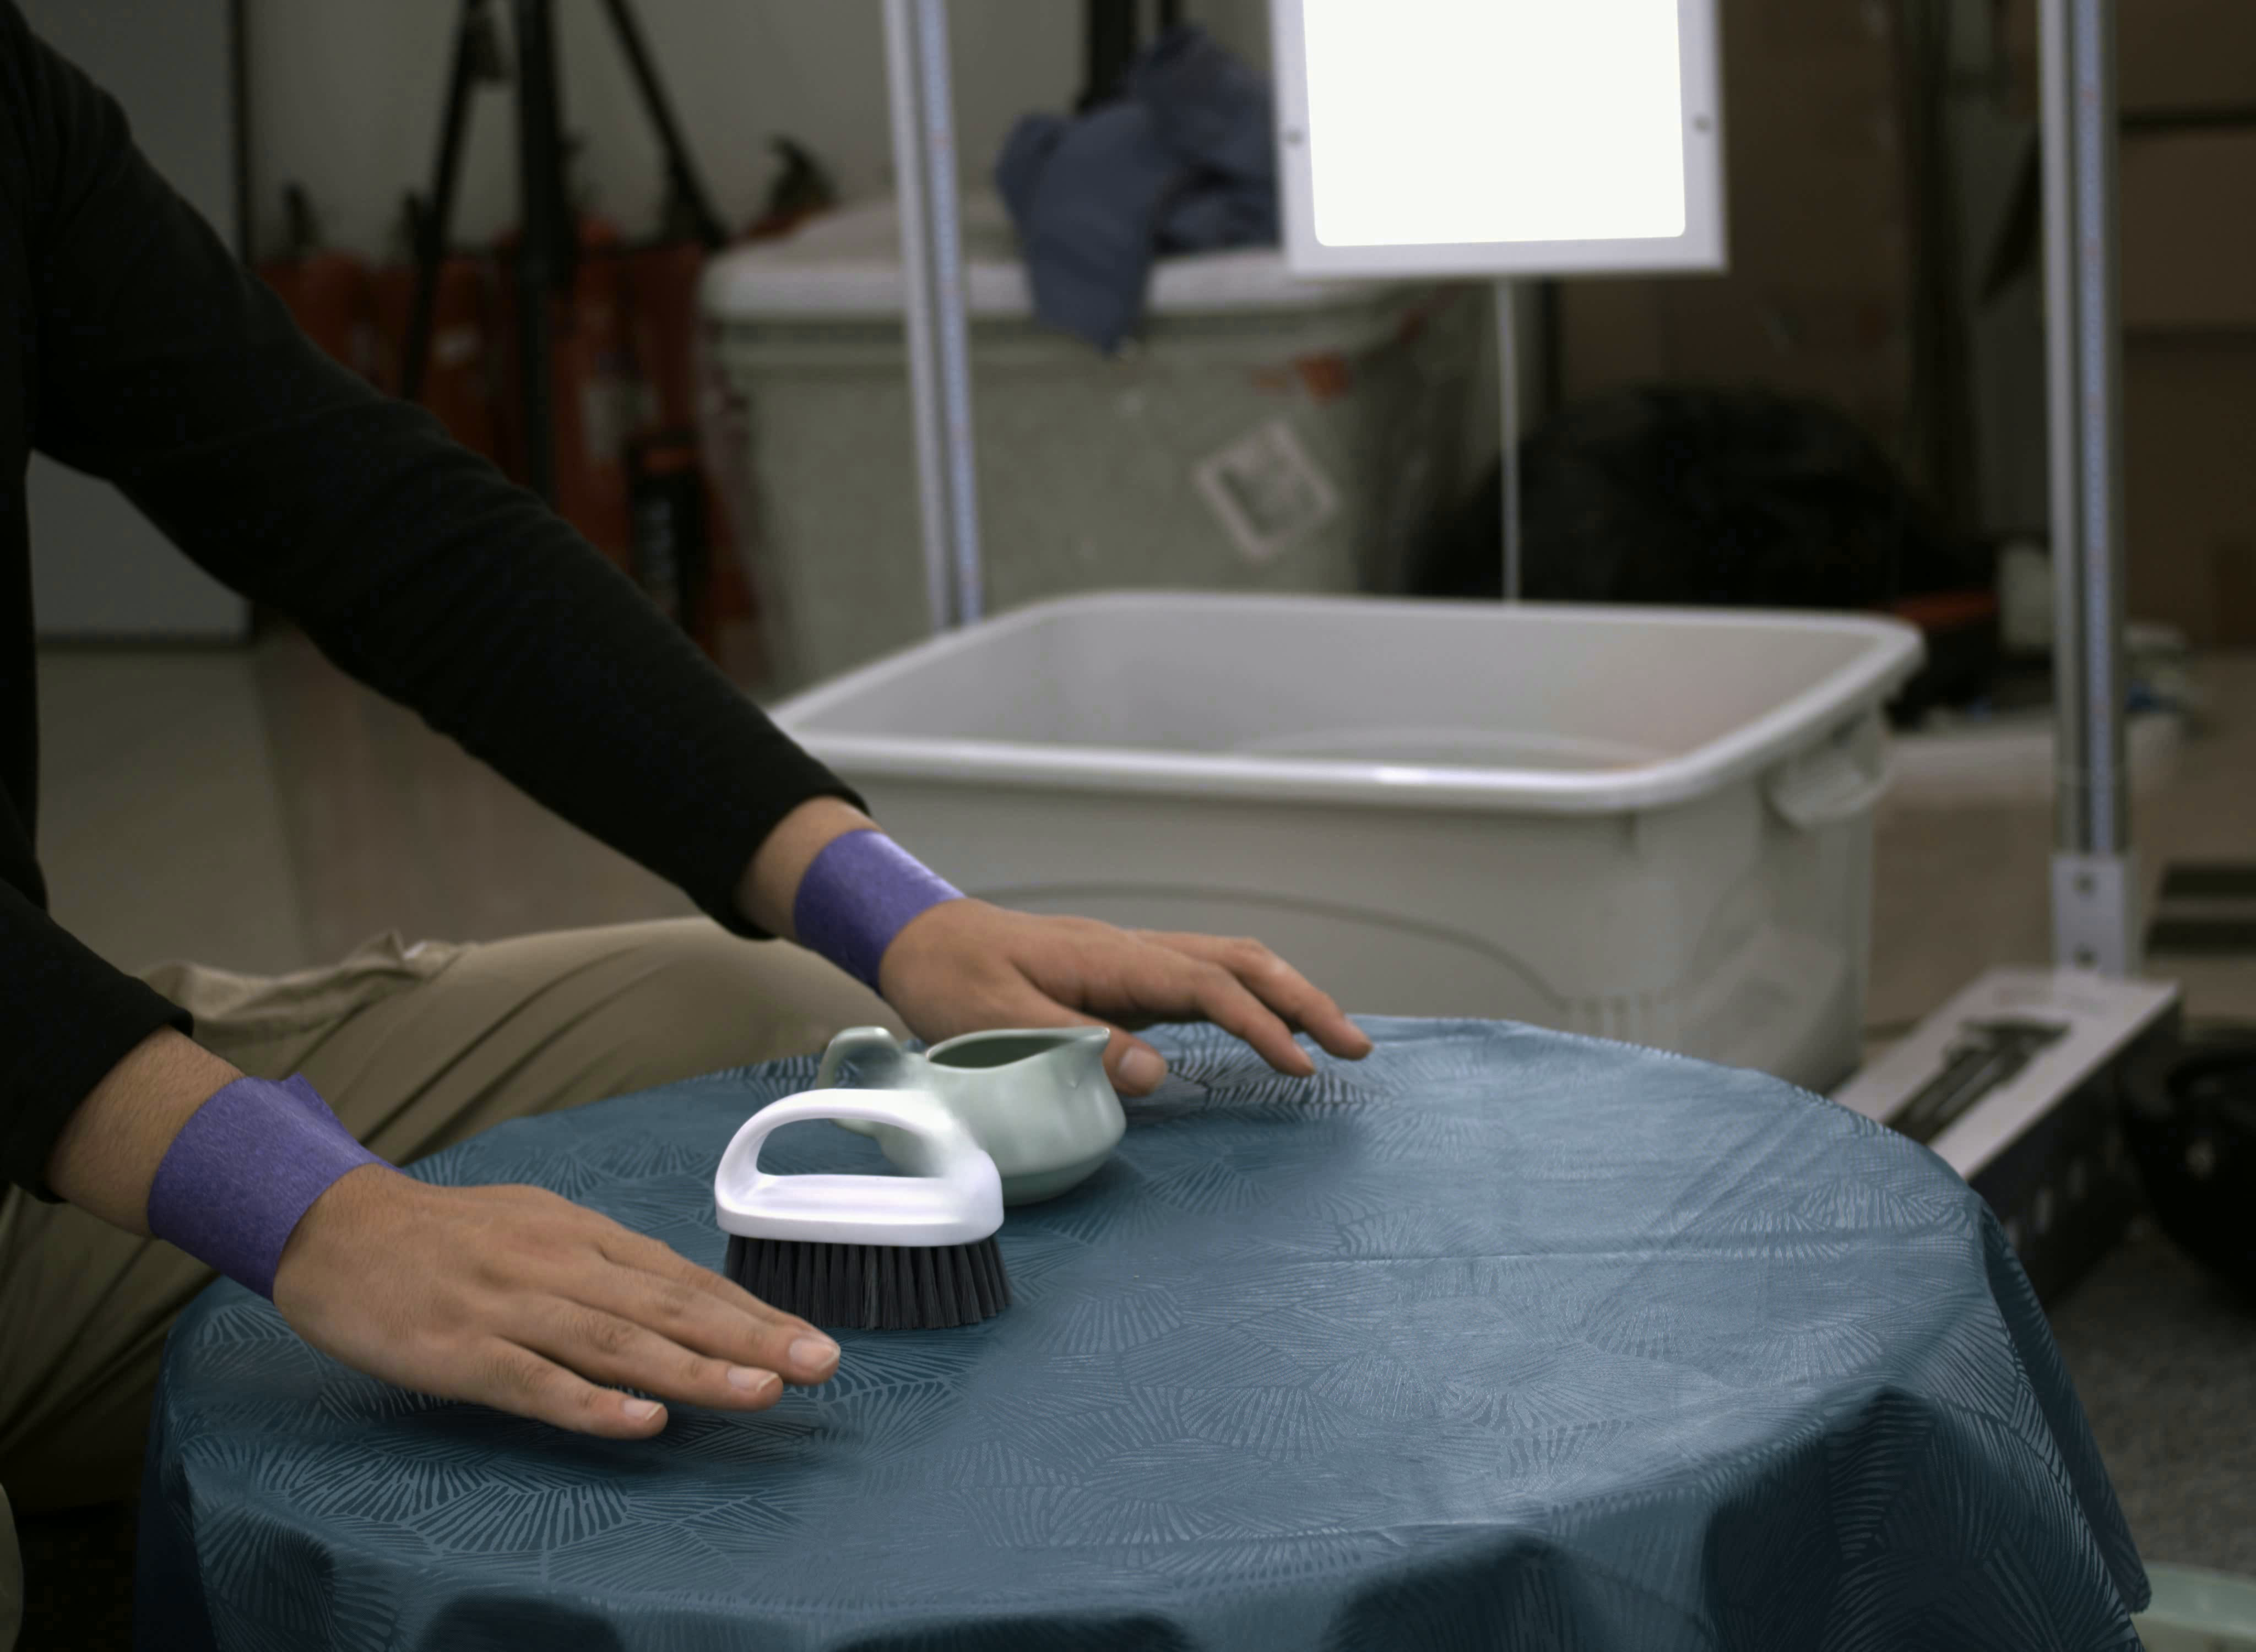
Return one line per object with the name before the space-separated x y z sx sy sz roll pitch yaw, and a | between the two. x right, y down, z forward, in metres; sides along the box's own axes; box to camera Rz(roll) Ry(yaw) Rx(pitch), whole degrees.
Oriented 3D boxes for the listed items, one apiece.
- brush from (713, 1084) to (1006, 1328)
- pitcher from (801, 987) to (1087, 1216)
brush | -0.089 0.120 1.797 0.101 0.073 0.049 3 14 25
pitcher | -0.066 0.095 1.914 0.109 0.061 0.084 18 33 19
